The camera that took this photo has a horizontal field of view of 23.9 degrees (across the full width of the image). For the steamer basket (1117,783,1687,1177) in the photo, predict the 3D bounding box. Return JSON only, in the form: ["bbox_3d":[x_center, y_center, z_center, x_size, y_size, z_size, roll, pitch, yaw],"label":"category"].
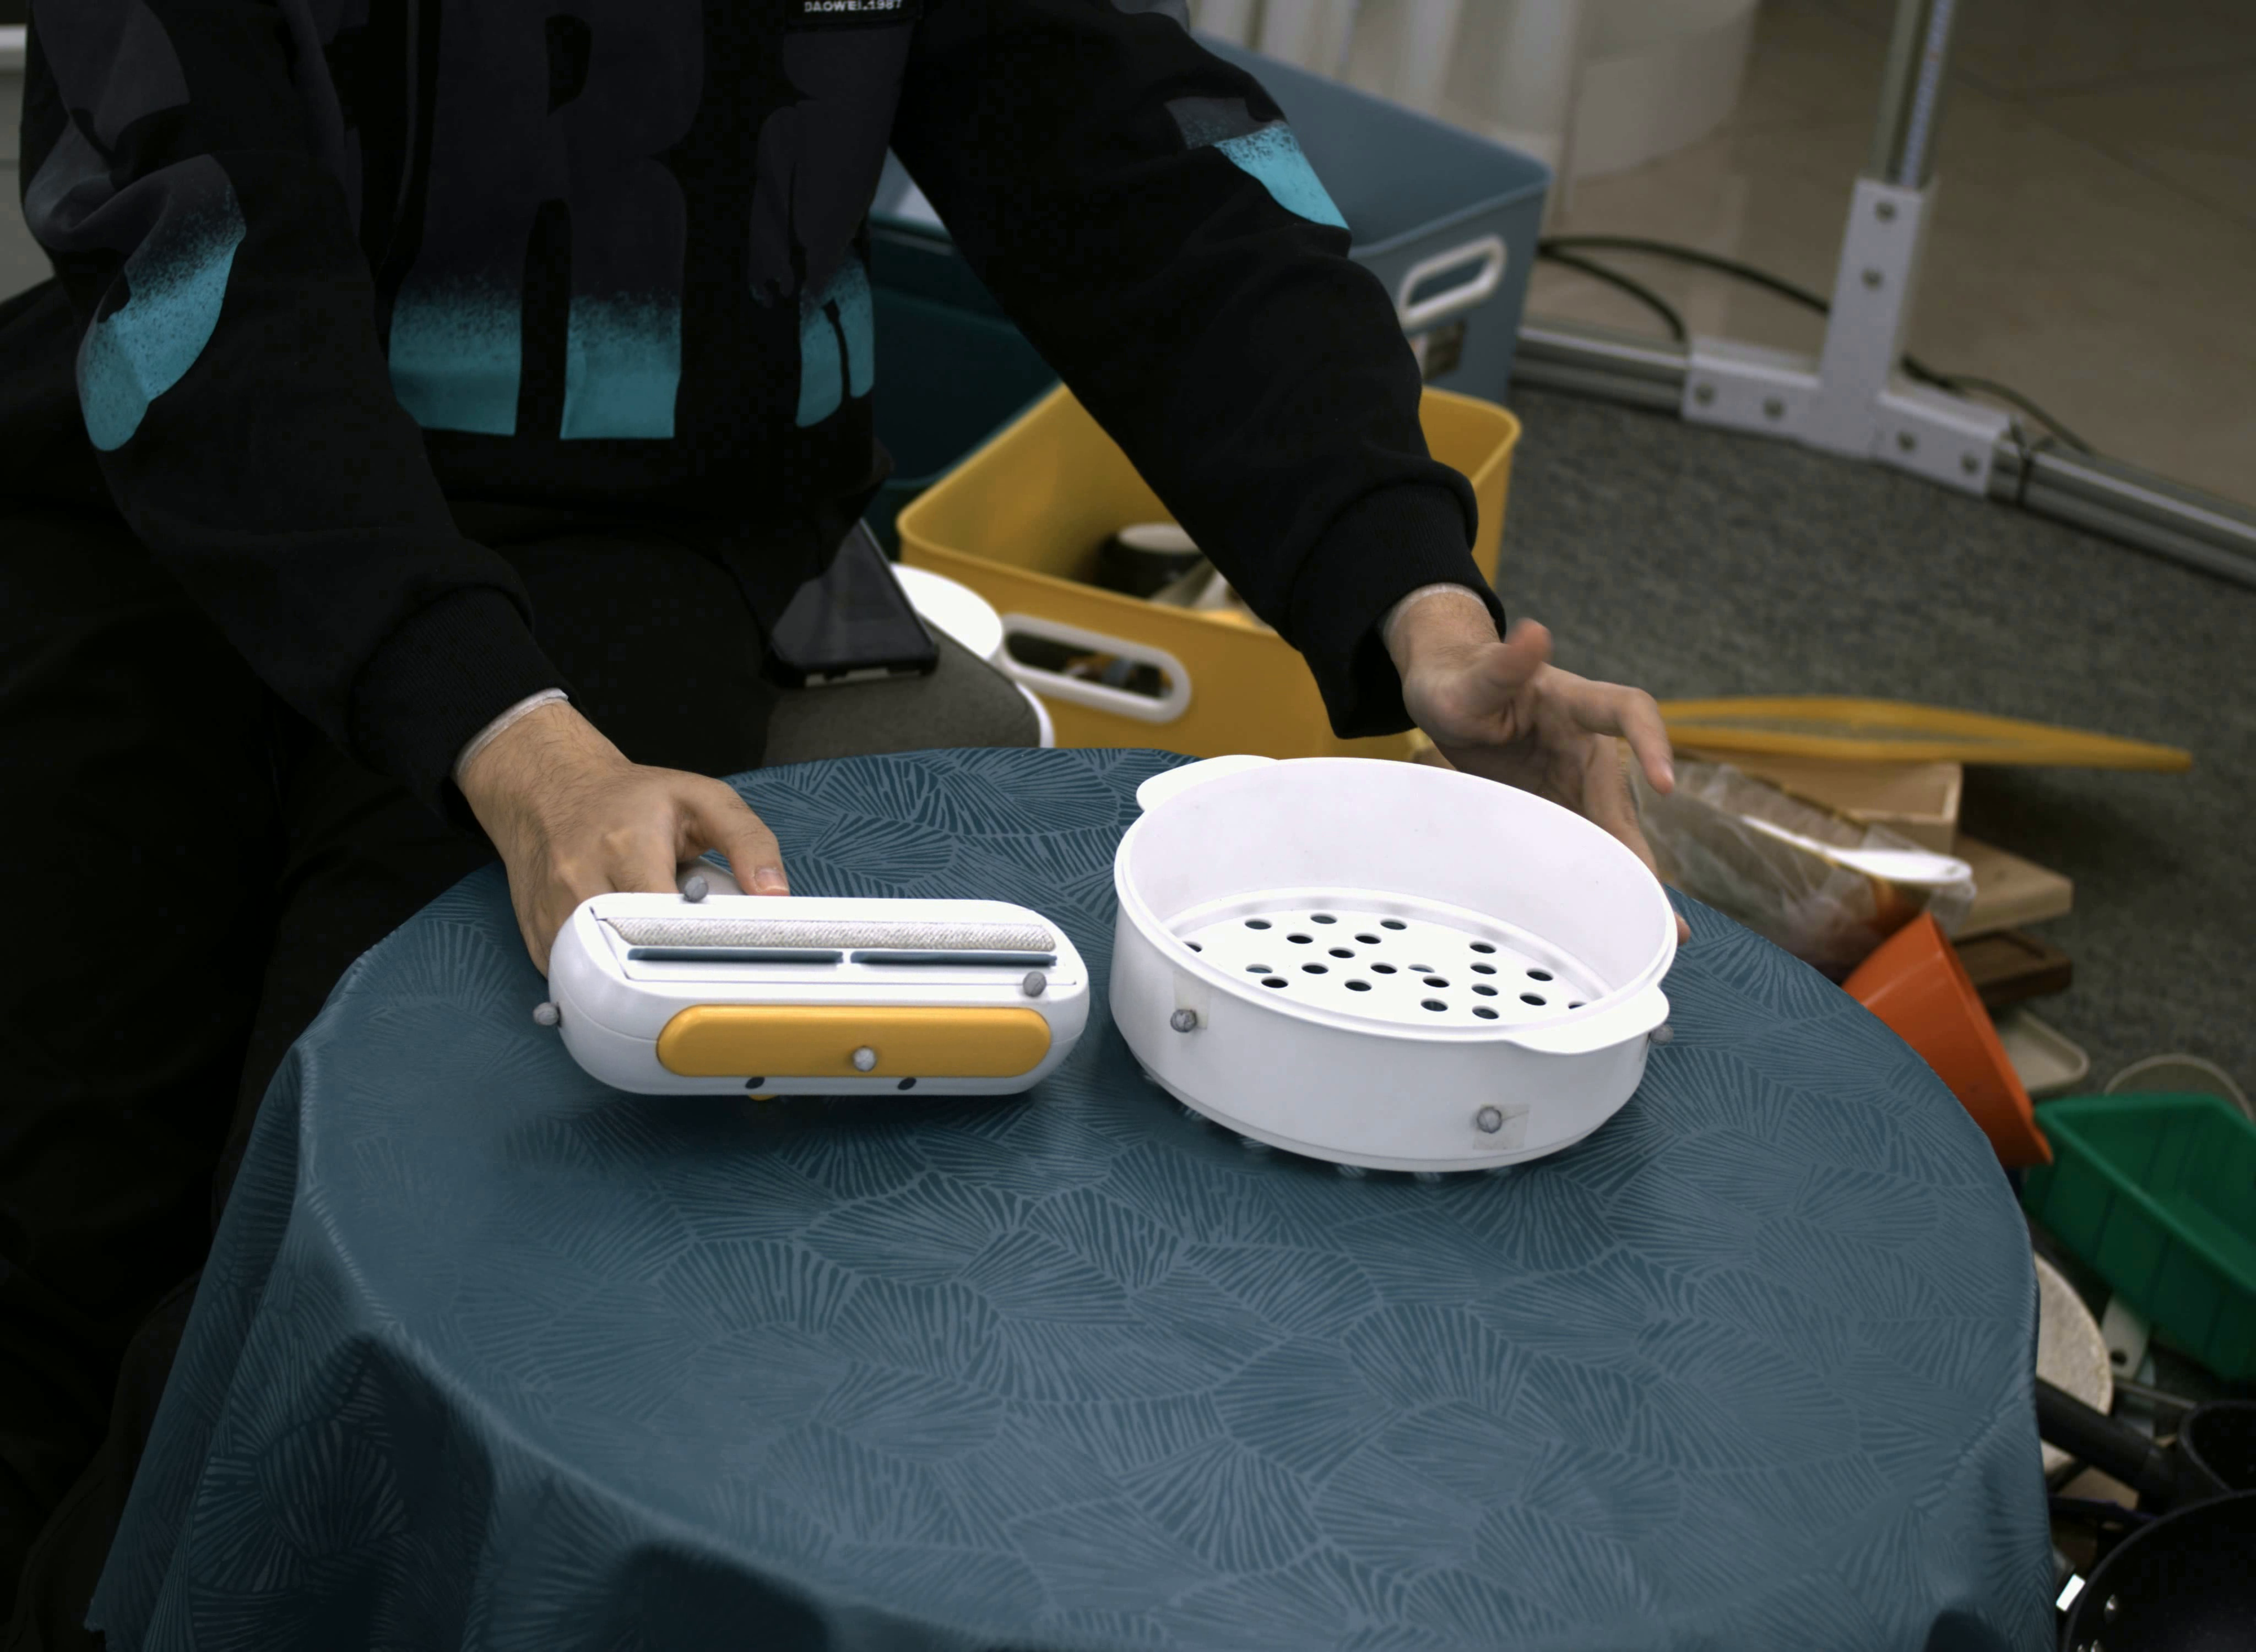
[{"bbox_3d":[0.094,0.055,1.886,0.201,0.069,0.232,-15,31,-38],"label":"steamer basket"}]

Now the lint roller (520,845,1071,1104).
[{"bbox_3d":[-0.134,0.039,1.861,0.191,0.074,0.194,-1,26,-23],"label":"lint roller"}]
